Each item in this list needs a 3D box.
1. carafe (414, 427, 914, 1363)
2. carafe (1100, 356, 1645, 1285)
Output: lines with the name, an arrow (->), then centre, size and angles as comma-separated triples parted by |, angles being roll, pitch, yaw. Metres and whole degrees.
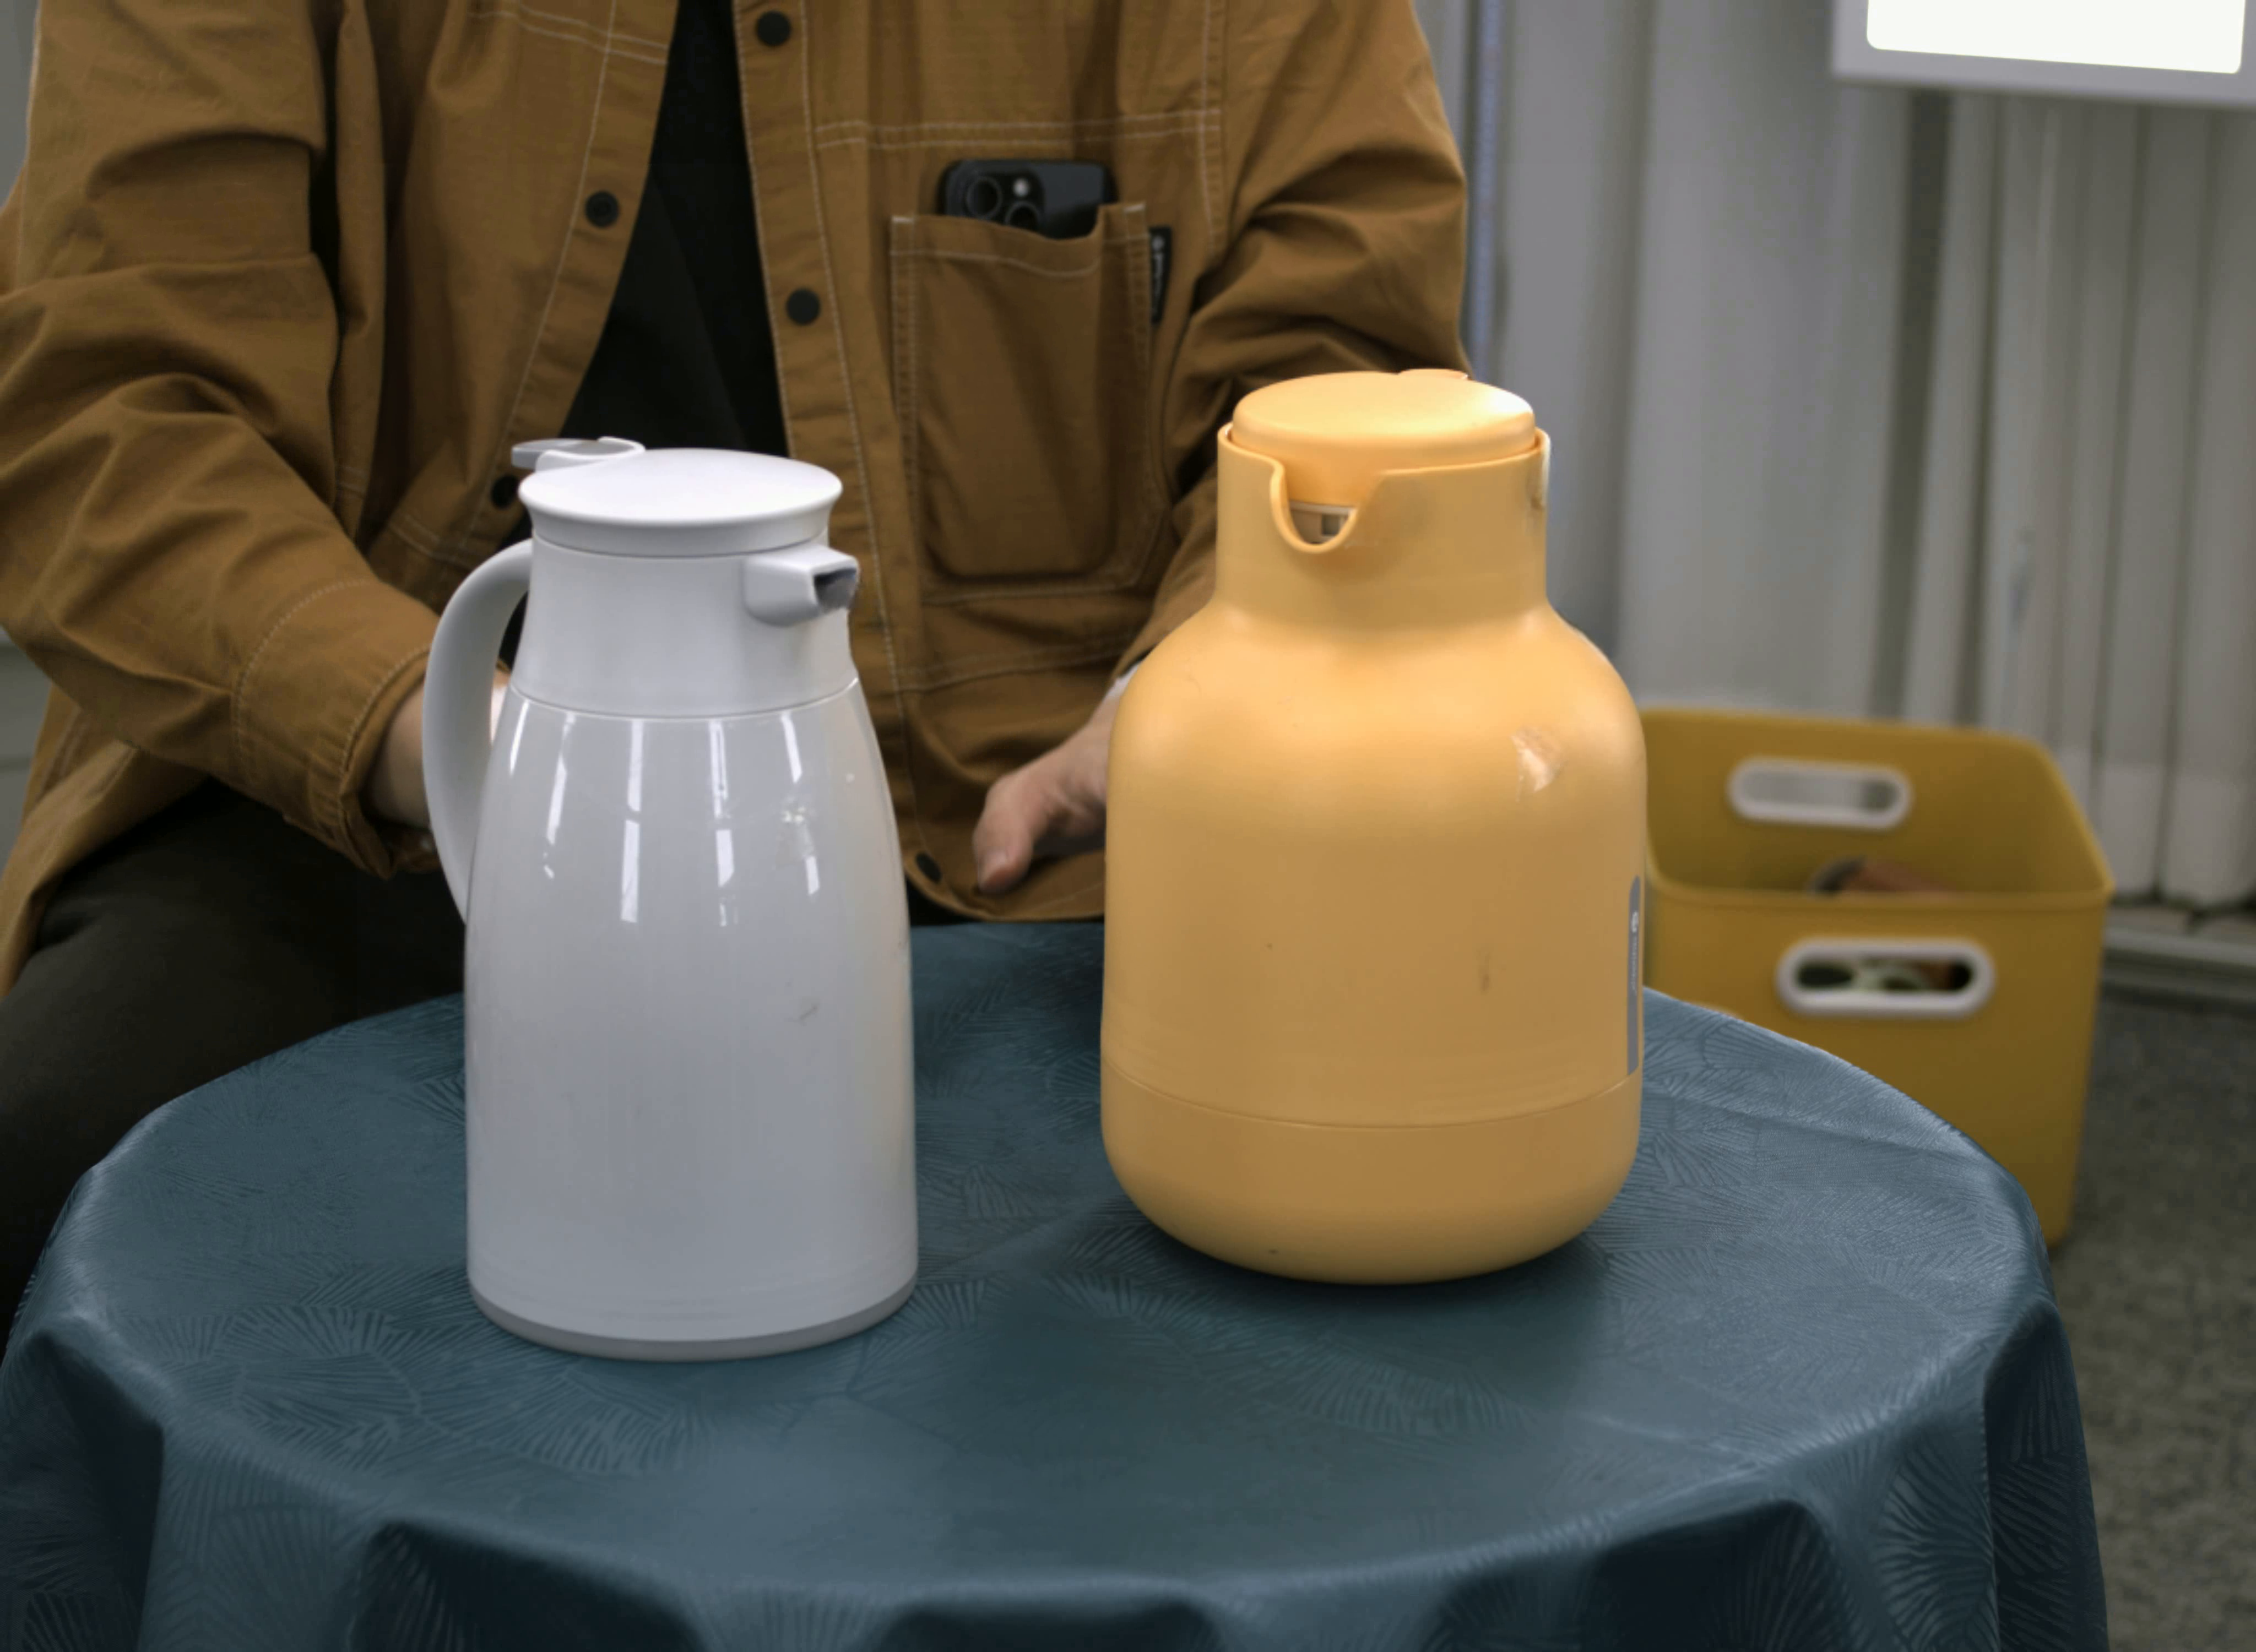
carafe -> -0.142, 0.011, 1.516 | 0.165, 0.251, 0.133 | 13, 21, 38
carafe -> 0.081, -0.010, 1.575 | 0.162, 0.262, 0.202 | 8, 19, 18
